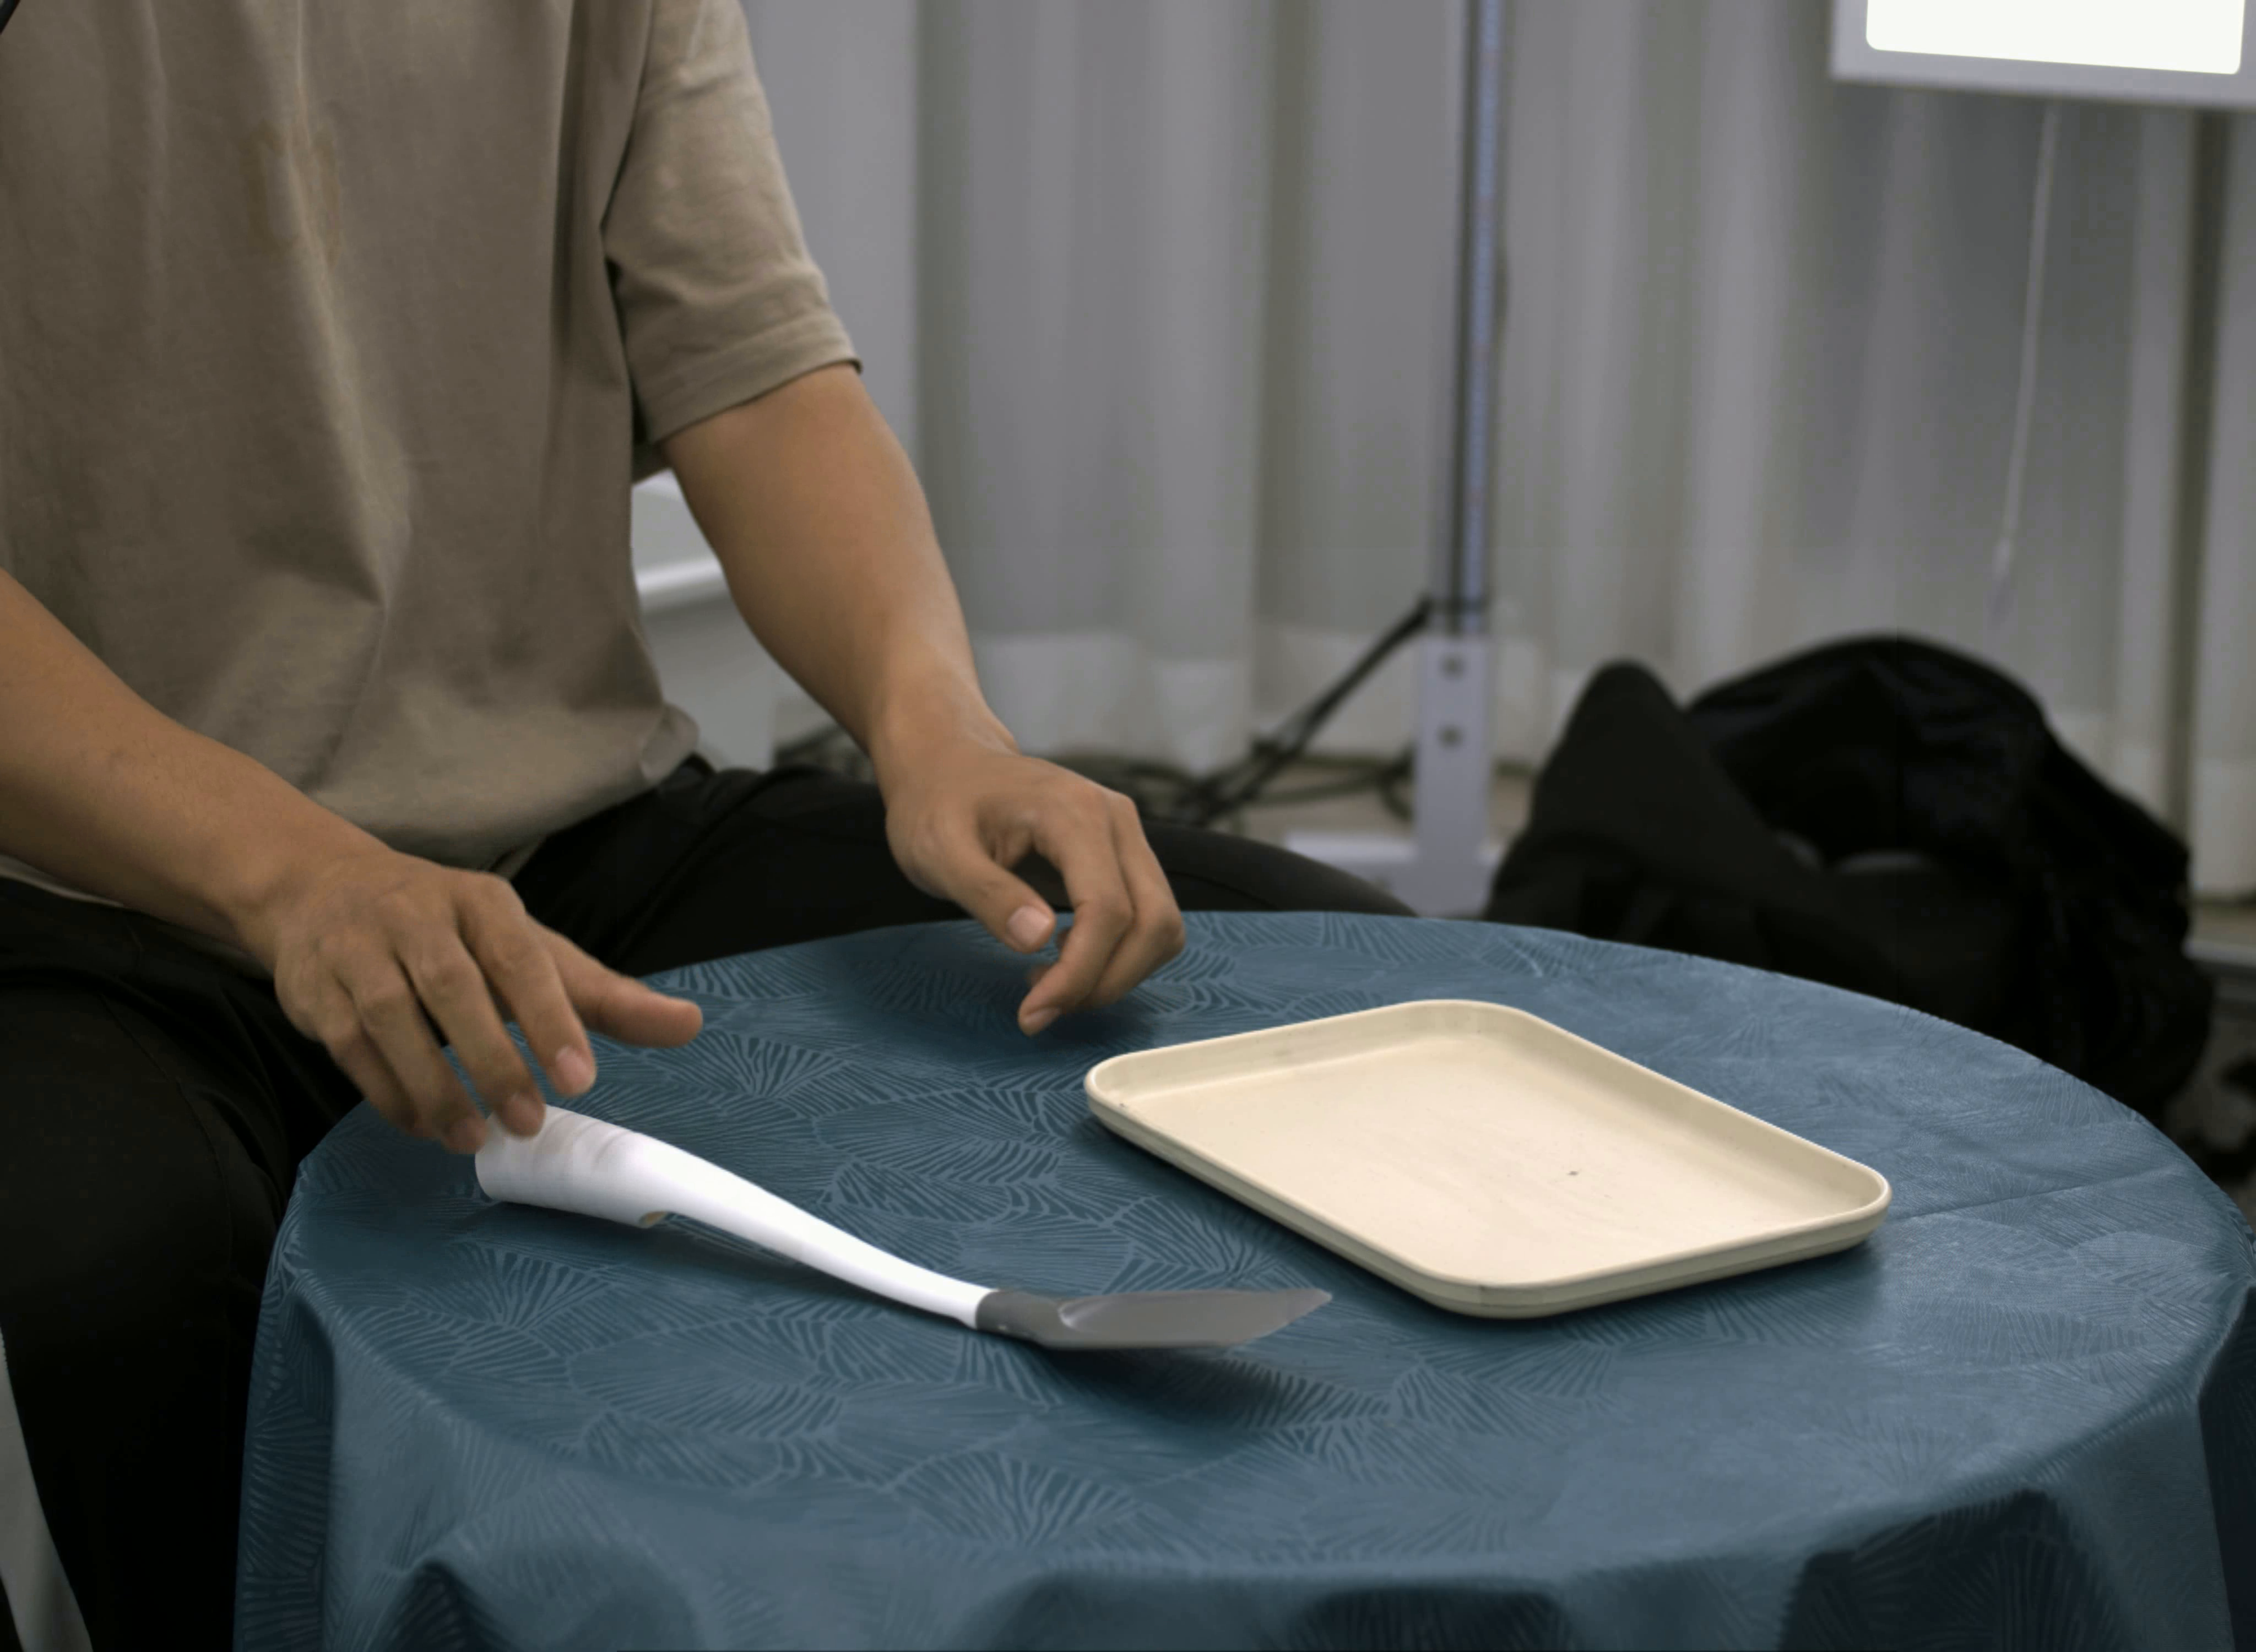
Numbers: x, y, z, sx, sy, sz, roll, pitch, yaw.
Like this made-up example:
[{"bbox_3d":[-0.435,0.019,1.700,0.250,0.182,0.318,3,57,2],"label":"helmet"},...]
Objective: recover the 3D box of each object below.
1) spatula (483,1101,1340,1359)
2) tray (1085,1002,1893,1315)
[{"bbox_3d":[-0.069,0.122,1.523,0.284,0.032,0.059,11,15,32],"label":"spatula"},{"bbox_3d":[0.108,0.102,1.637,0.172,0.017,0.236,-8,18,-31],"label":"tray"}]
